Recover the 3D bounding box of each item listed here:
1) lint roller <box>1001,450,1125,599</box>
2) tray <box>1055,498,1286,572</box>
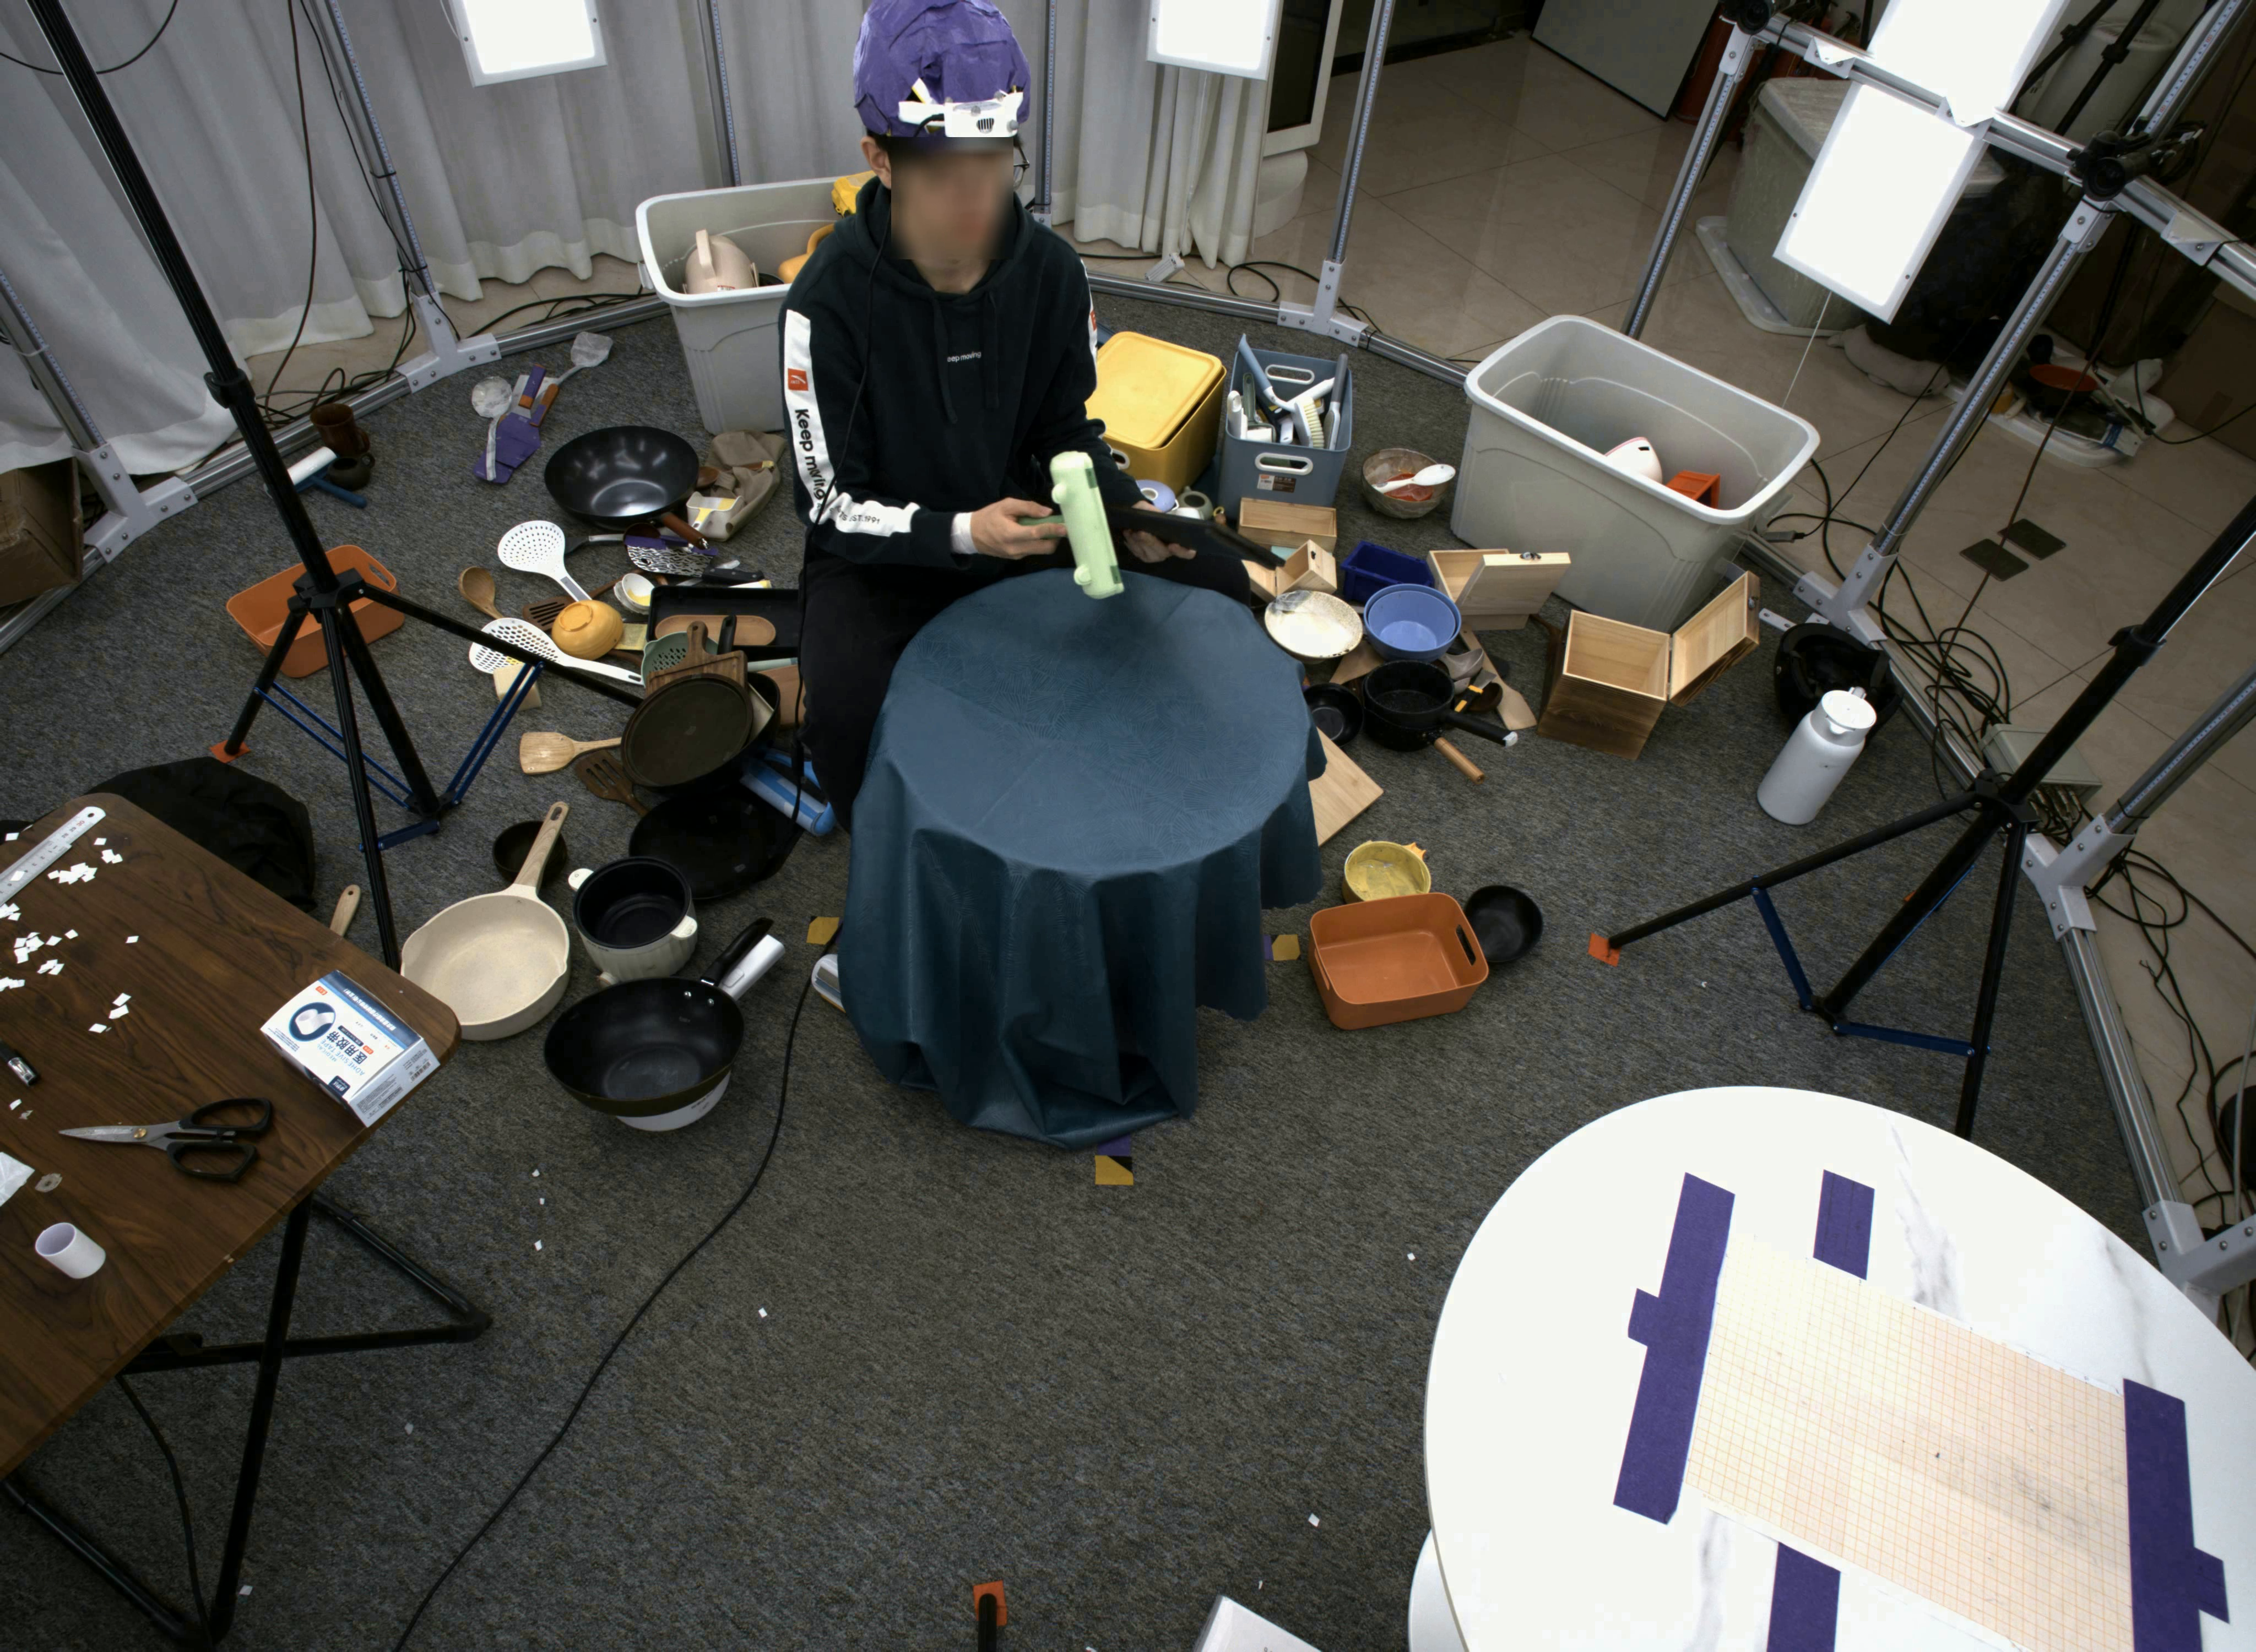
[{"bbox_3d":[-0.106,-0.399,1.746,0.184,0.194,0.083,0,32,27],"label":"lint roller"},{"bbox_3d":[0.054,-0.400,1.763,0.310,0.018,0.168,21,5,40],"label":"tray"}]
